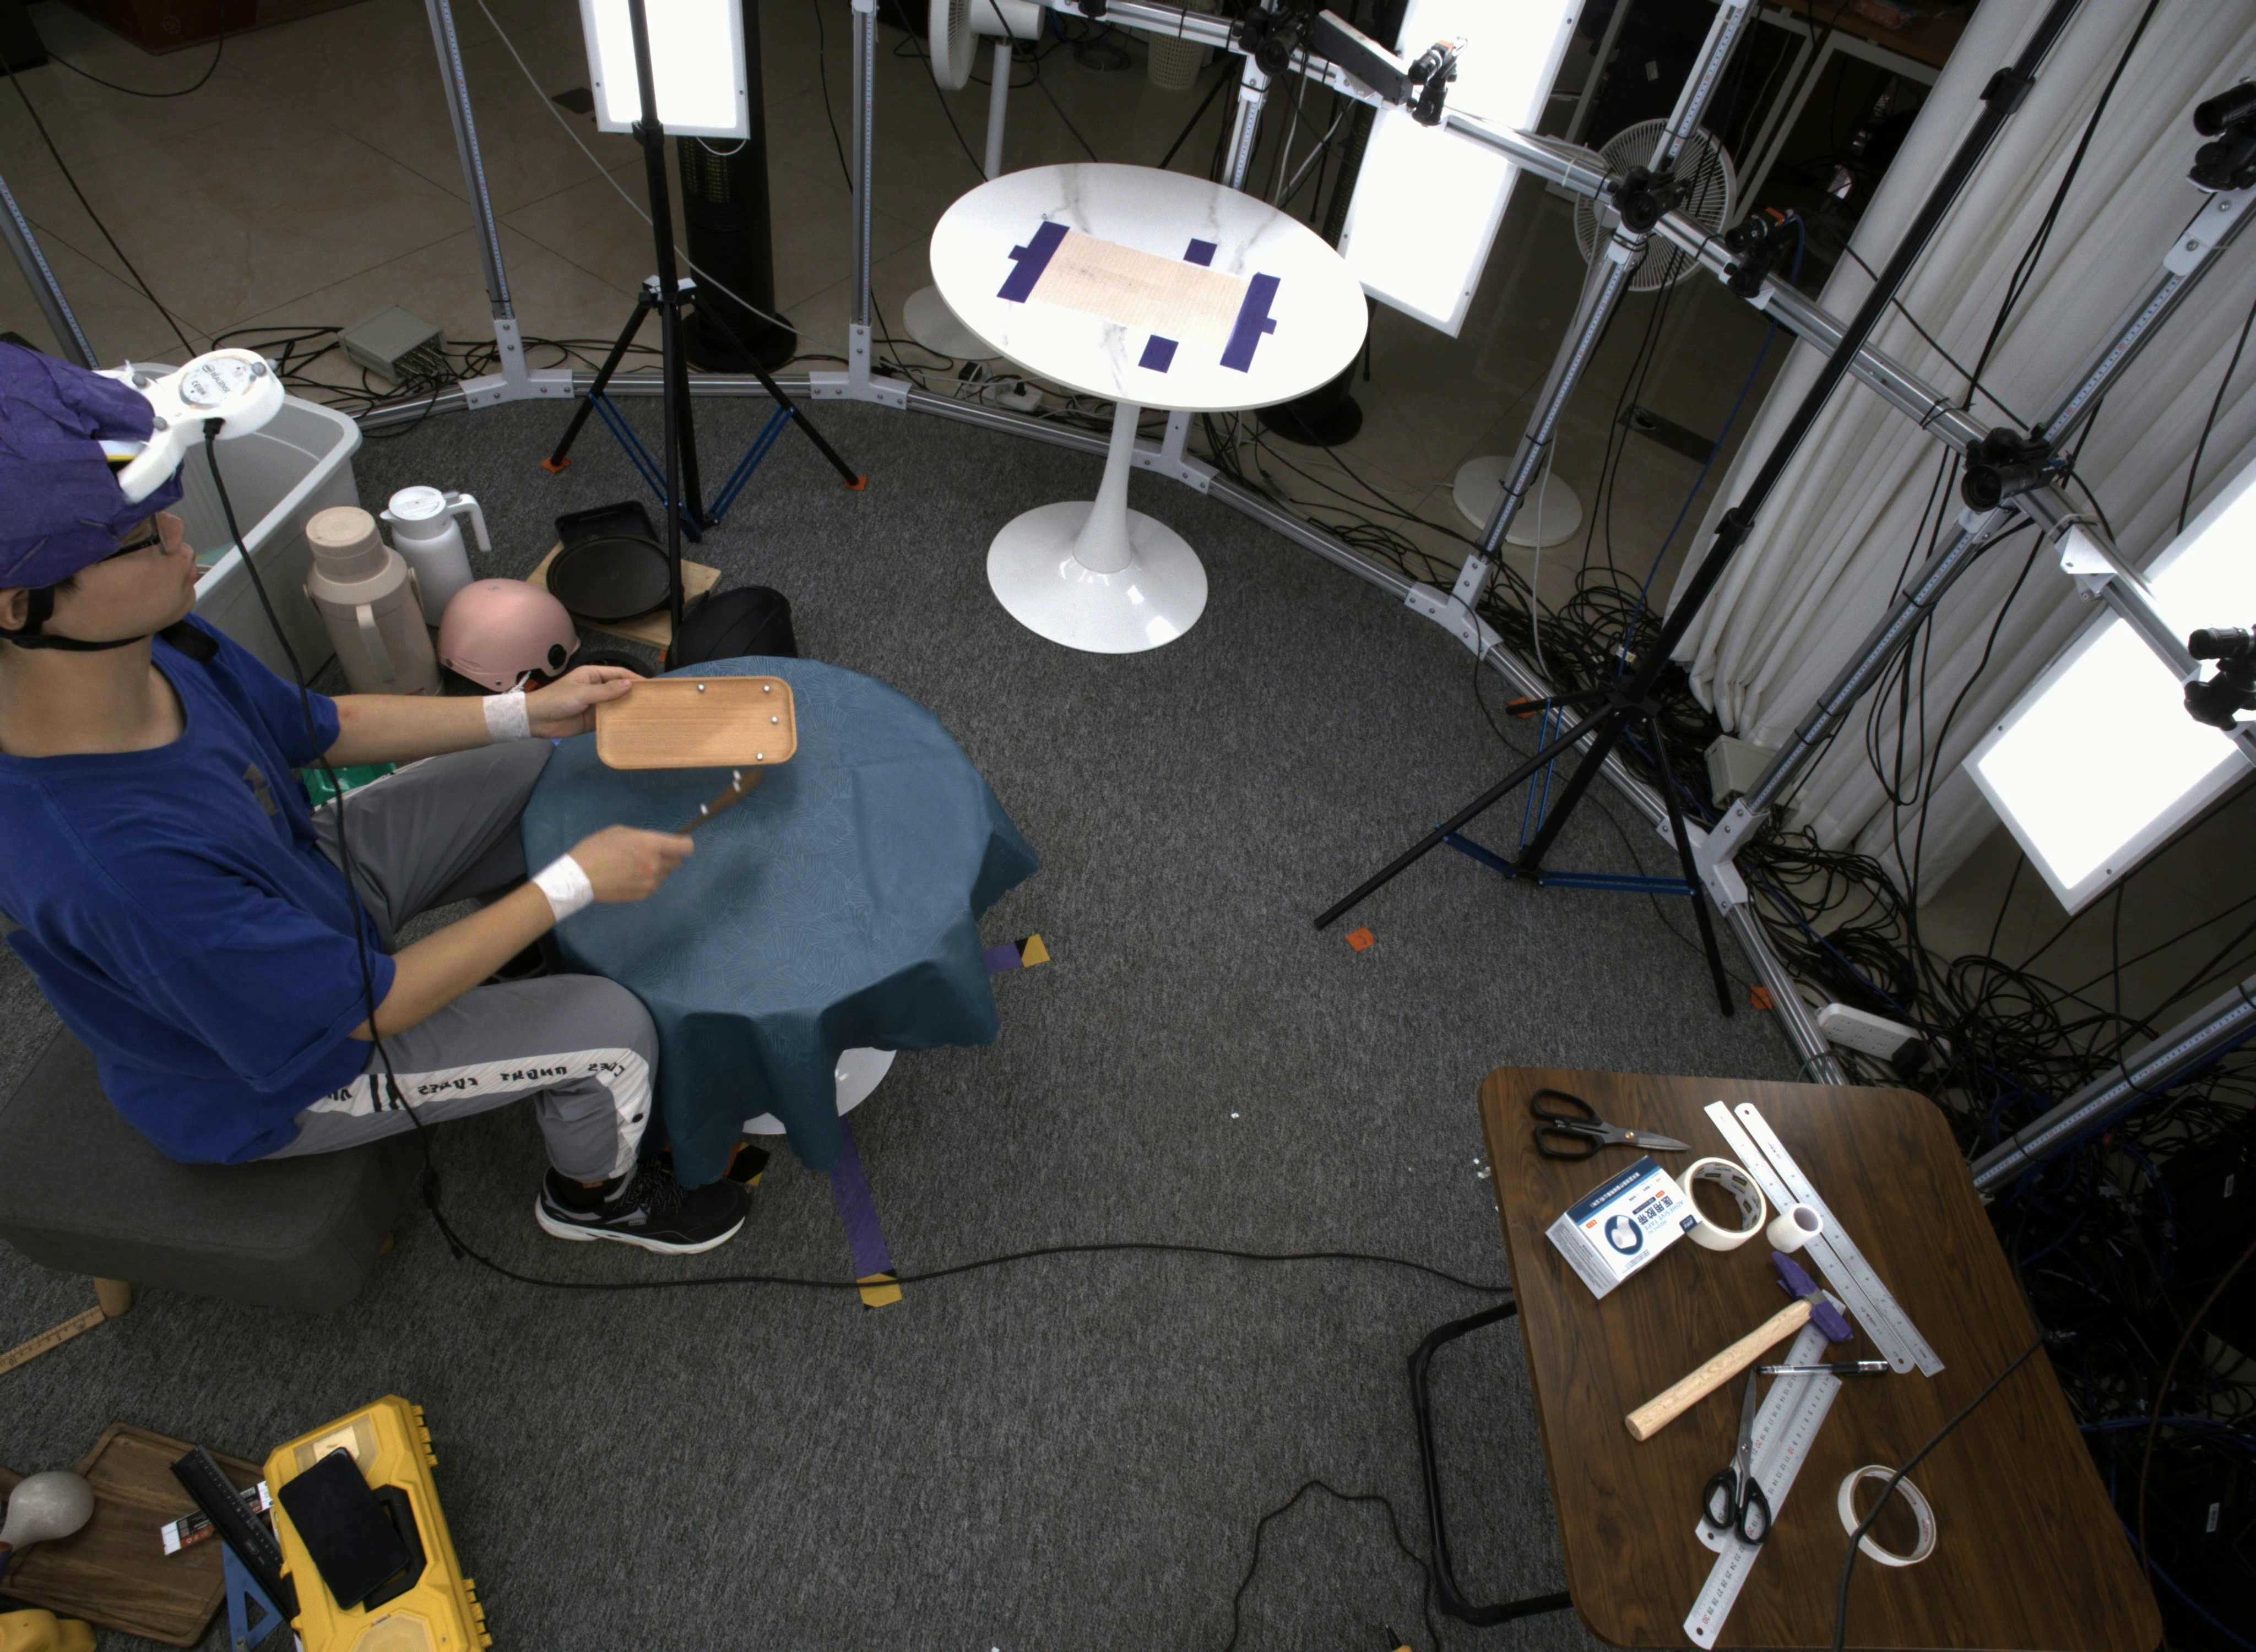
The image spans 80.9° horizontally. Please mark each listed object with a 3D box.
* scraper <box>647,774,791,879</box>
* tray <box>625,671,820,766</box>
[{"bbox_3d":[-0.502,-0.001,1.579,0.211,0.073,0.011,-42,117,-31],"label":"scraper"},{"bbox_3d":[-0.533,-0.142,1.691,0.252,0.023,0.129,-1,70,-19],"label":"tray"}]
